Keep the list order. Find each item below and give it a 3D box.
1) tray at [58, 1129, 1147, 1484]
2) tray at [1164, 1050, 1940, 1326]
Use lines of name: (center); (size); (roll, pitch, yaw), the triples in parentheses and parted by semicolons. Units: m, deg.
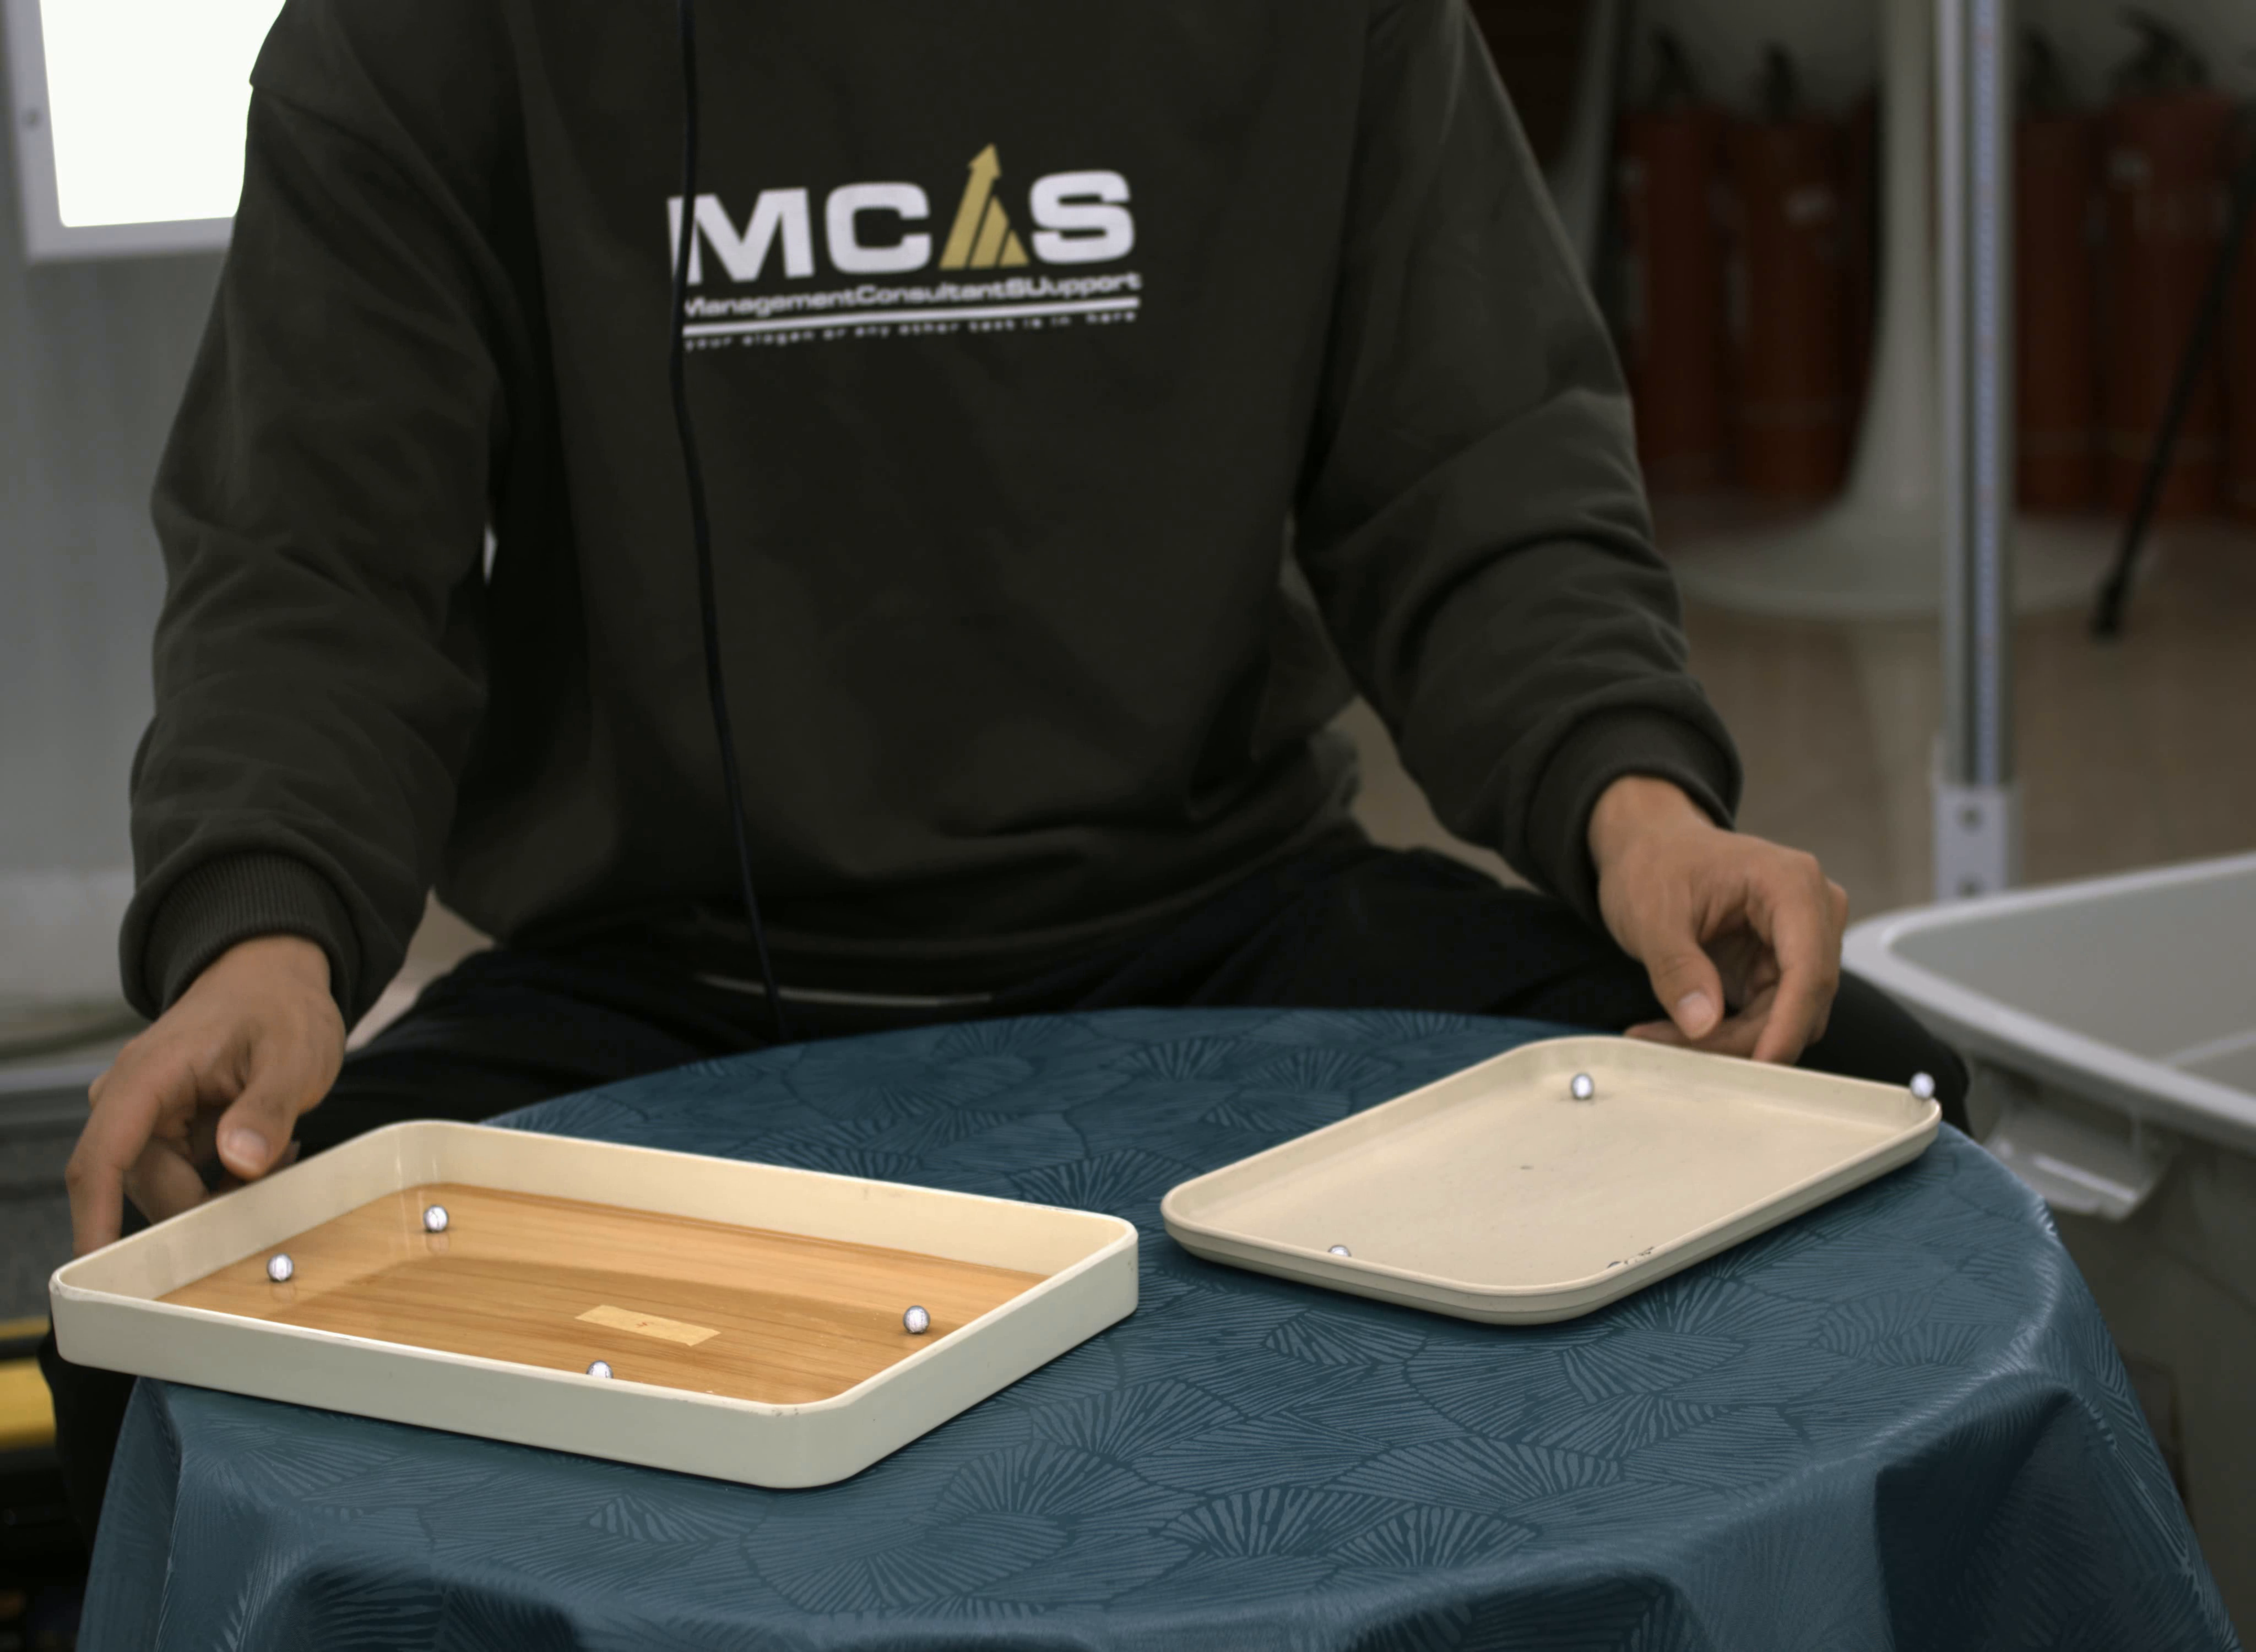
tray: (-0.161, 0.144, 1.666); (0.302, 0.028, 0.188); (5, 15, 33)
tray: (0.139, 0.115, 1.730); (0.173, 0.017, 0.235); (7, 17, 42)
